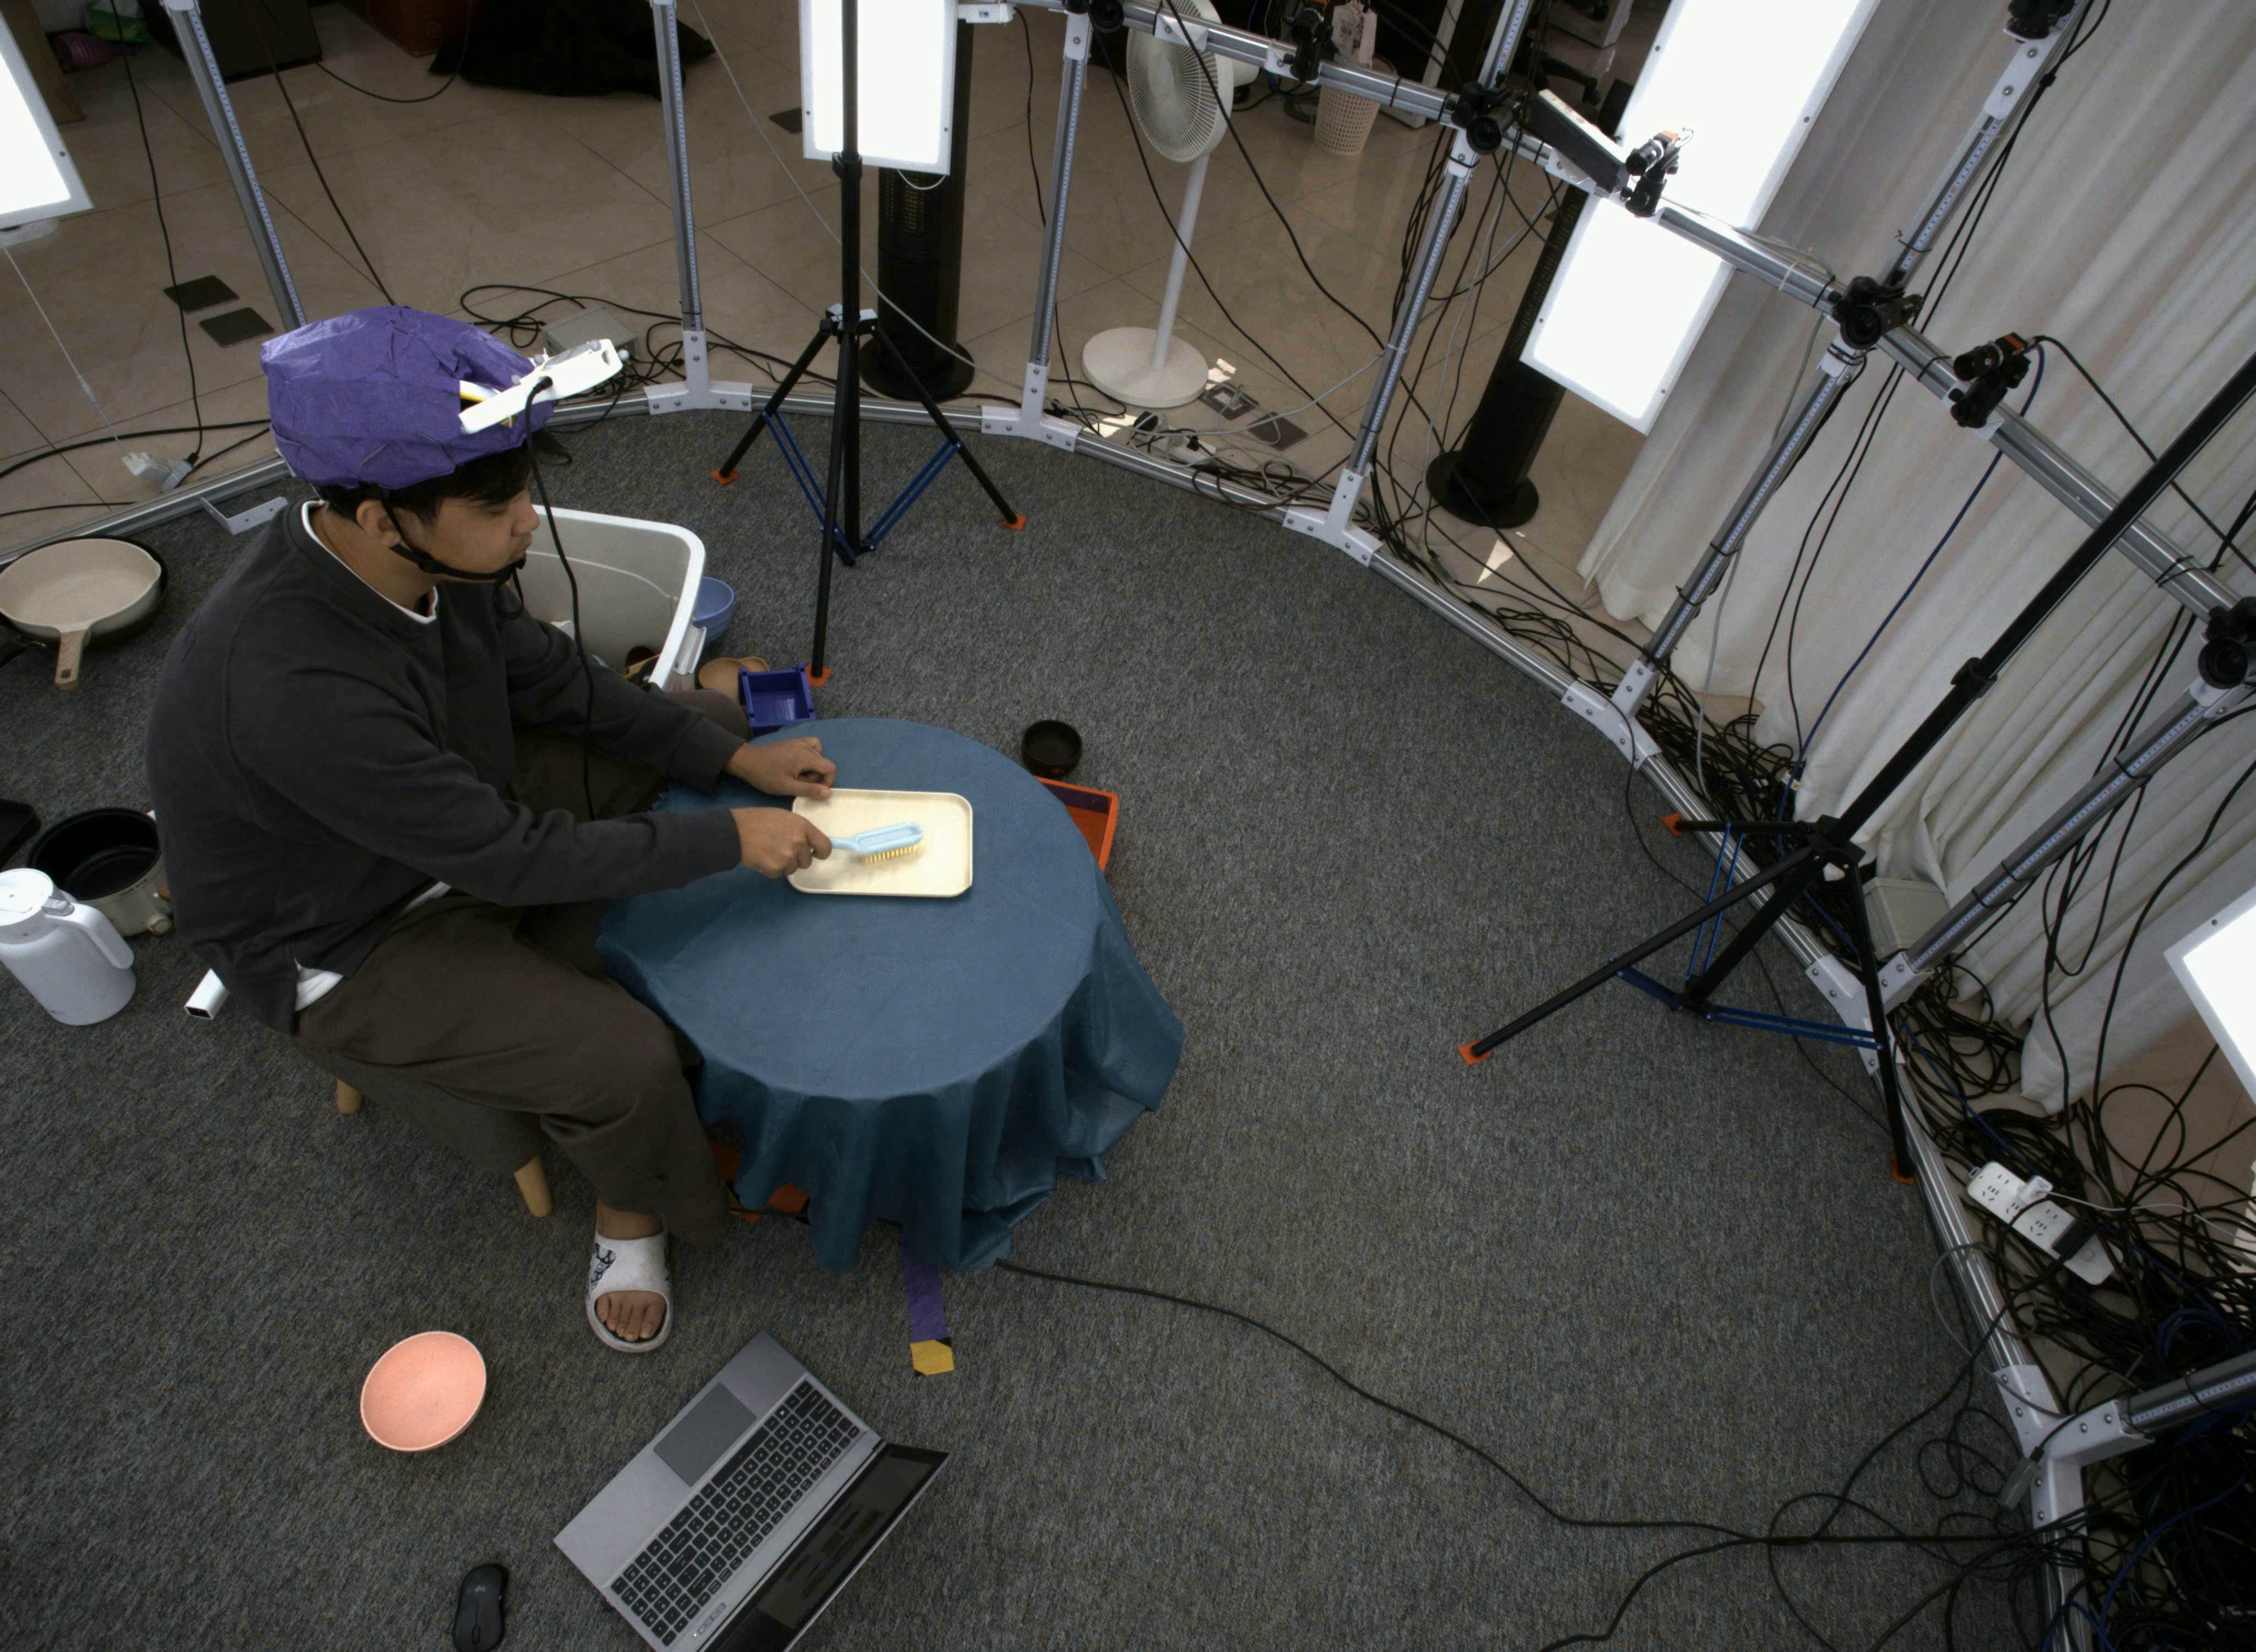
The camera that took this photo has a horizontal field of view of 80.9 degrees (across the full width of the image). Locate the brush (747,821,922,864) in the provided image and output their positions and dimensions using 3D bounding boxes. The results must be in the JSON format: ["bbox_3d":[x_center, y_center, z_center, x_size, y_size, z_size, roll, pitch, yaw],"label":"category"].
[{"bbox_3d":[-0.374,0.028,1.662,0.232,0.050,0.037,-7,53,-34],"label":"brush"}]

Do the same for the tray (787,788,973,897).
[{"bbox_3d":[-0.324,0.022,1.717,0.239,0.018,0.168,3,53,-12],"label":"tray"}]
